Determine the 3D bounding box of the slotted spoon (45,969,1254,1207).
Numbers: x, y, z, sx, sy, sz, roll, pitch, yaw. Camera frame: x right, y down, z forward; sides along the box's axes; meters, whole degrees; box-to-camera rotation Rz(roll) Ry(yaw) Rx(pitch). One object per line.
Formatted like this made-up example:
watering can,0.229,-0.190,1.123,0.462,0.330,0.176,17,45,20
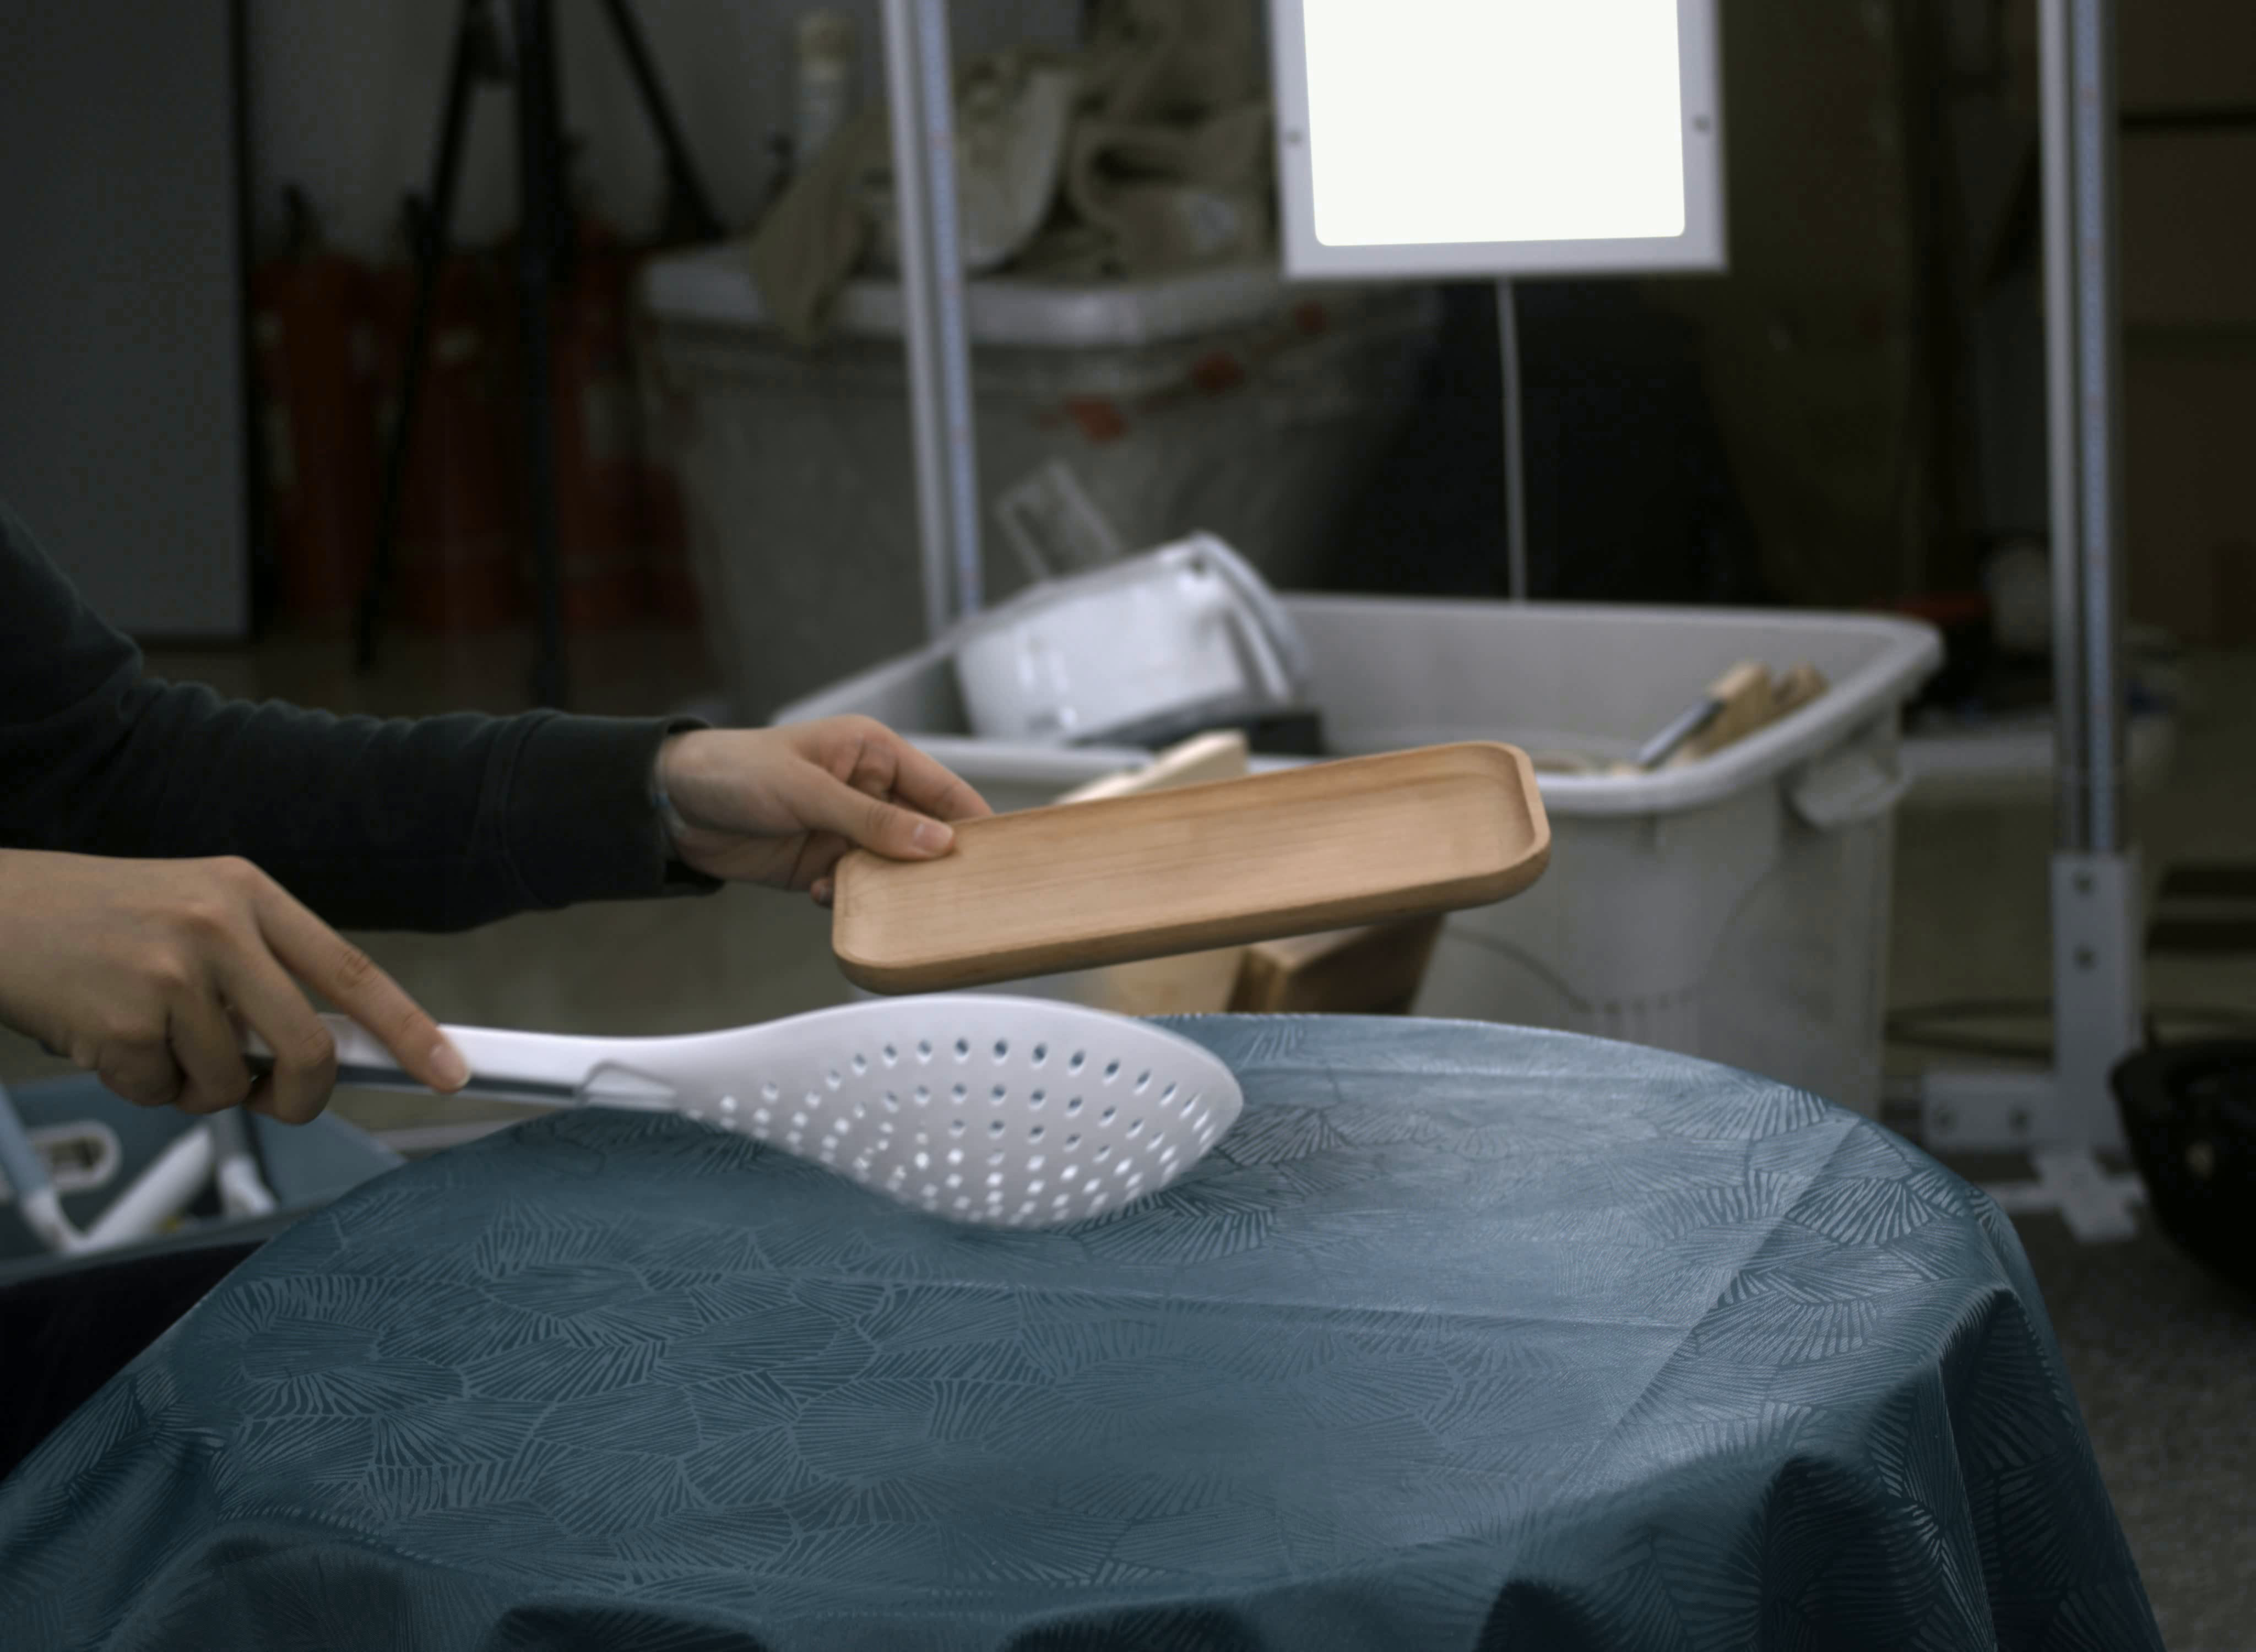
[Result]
slotted spoon,-0.139,0.067,1.595,0.350,0.045,0.136,8,-23,6

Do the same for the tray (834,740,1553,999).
tray,0.022,0.015,1.918,0.251,0.023,0.130,-10,20,4
